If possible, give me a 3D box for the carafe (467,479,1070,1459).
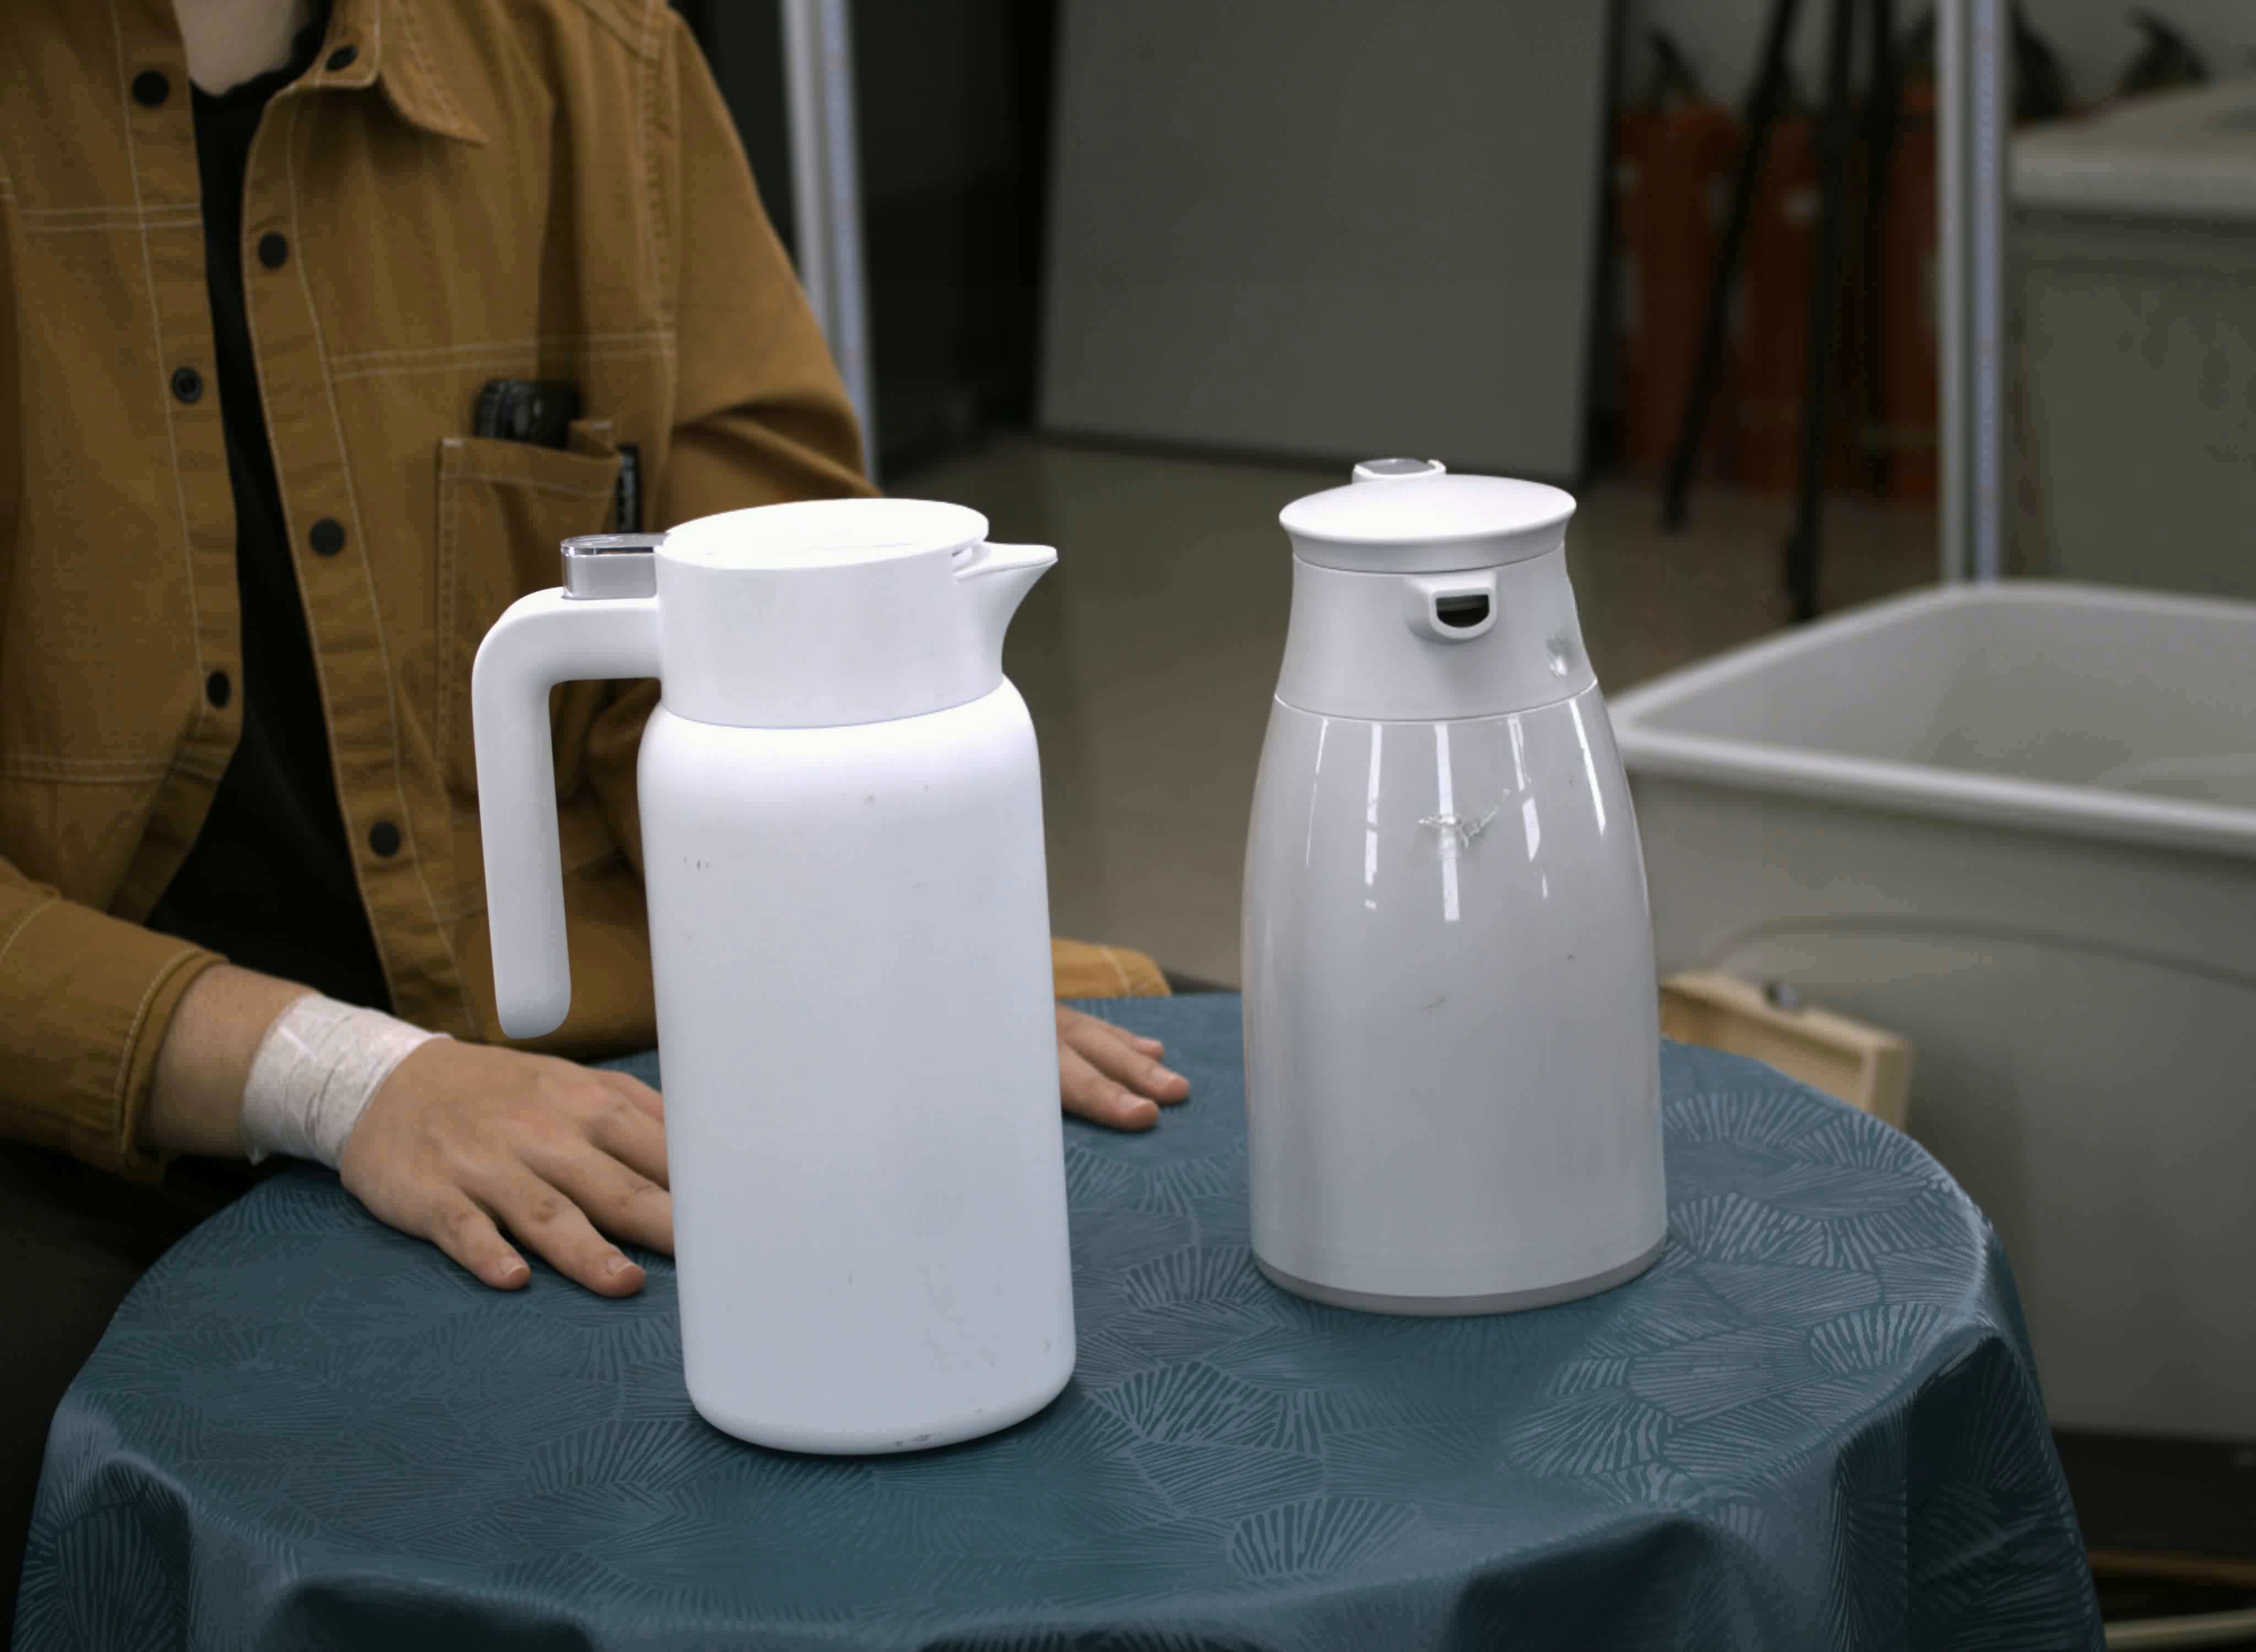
[{"bbox_3d":[-0.099,0.041,1.568,0.171,0.272,0.124,-3,15,5],"label":"carafe"}]

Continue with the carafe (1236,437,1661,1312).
[{"bbox_3d":[0.093,0.007,1.684,0.130,0.251,0.168,-5,13,-6],"label":"carafe"}]
